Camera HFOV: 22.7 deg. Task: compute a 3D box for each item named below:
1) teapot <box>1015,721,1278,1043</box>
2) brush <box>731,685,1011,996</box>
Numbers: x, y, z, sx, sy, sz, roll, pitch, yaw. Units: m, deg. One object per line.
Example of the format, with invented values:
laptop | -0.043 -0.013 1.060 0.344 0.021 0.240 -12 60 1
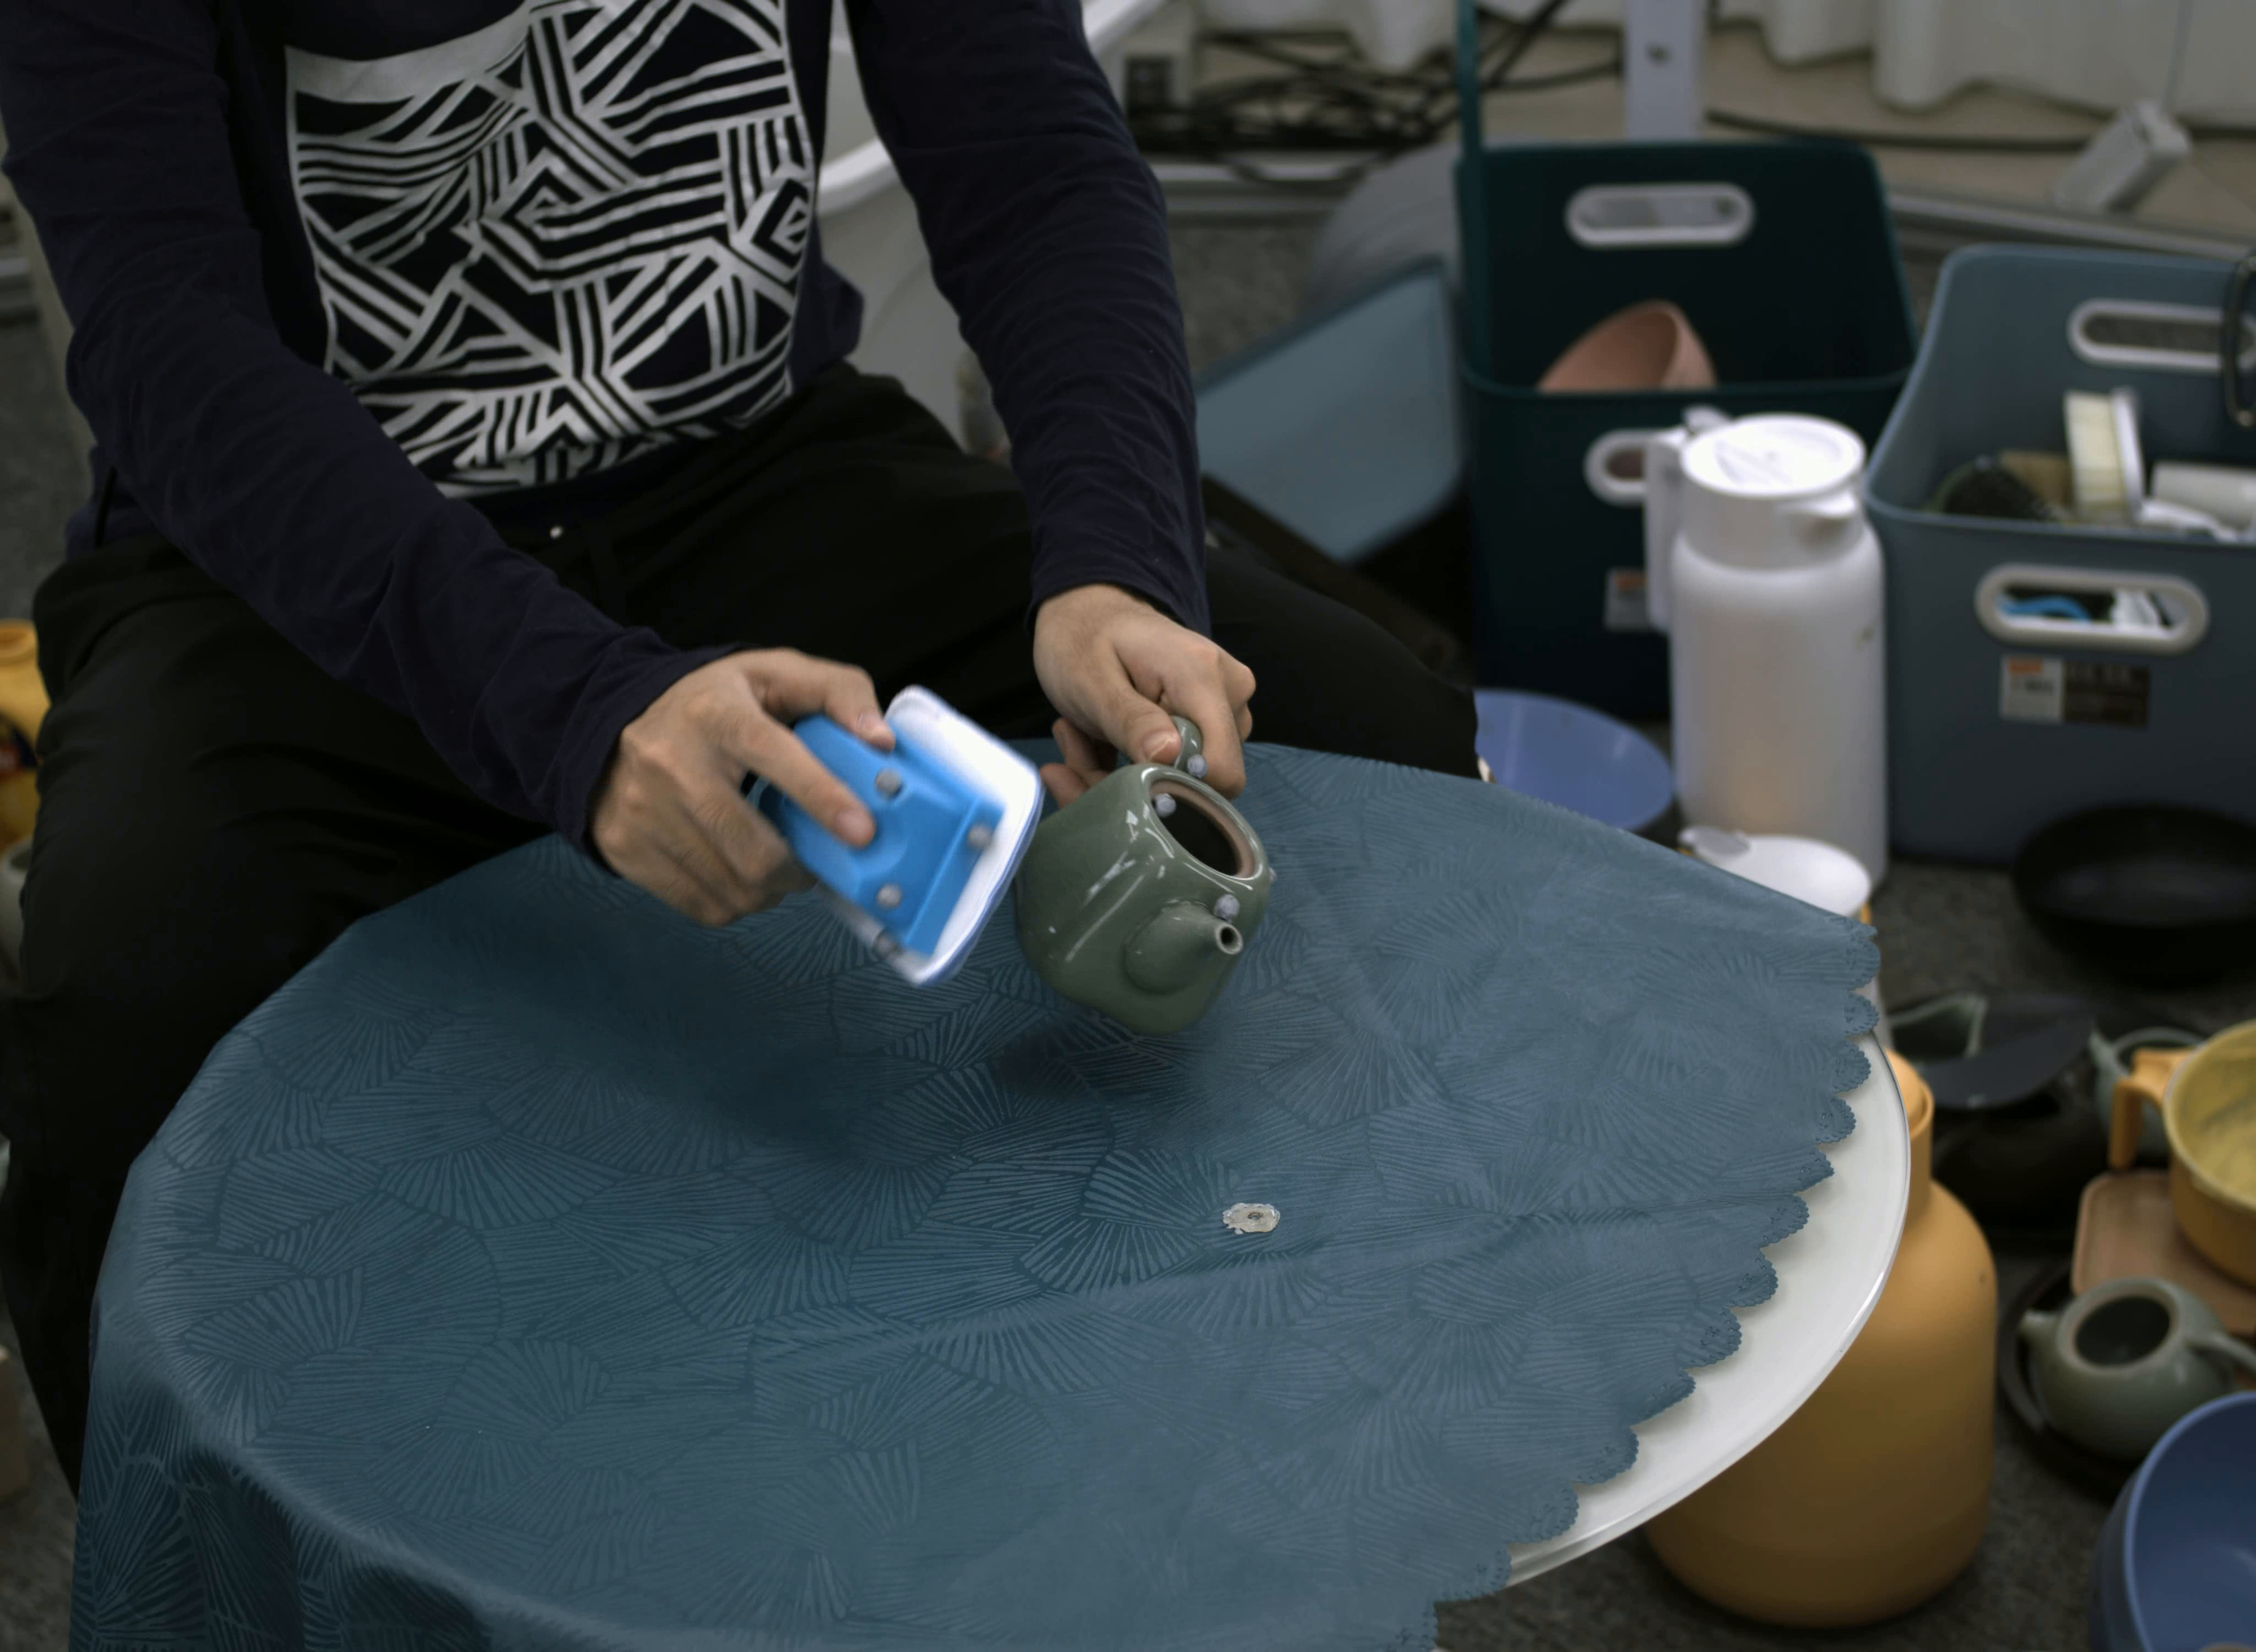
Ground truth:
teapot | 0.009 0.024 1.919 0.079 0.074 0.134 27 27 -26
brush | -0.093 -0.002 1.882 0.055 0.084 0.144 32 5 -29
